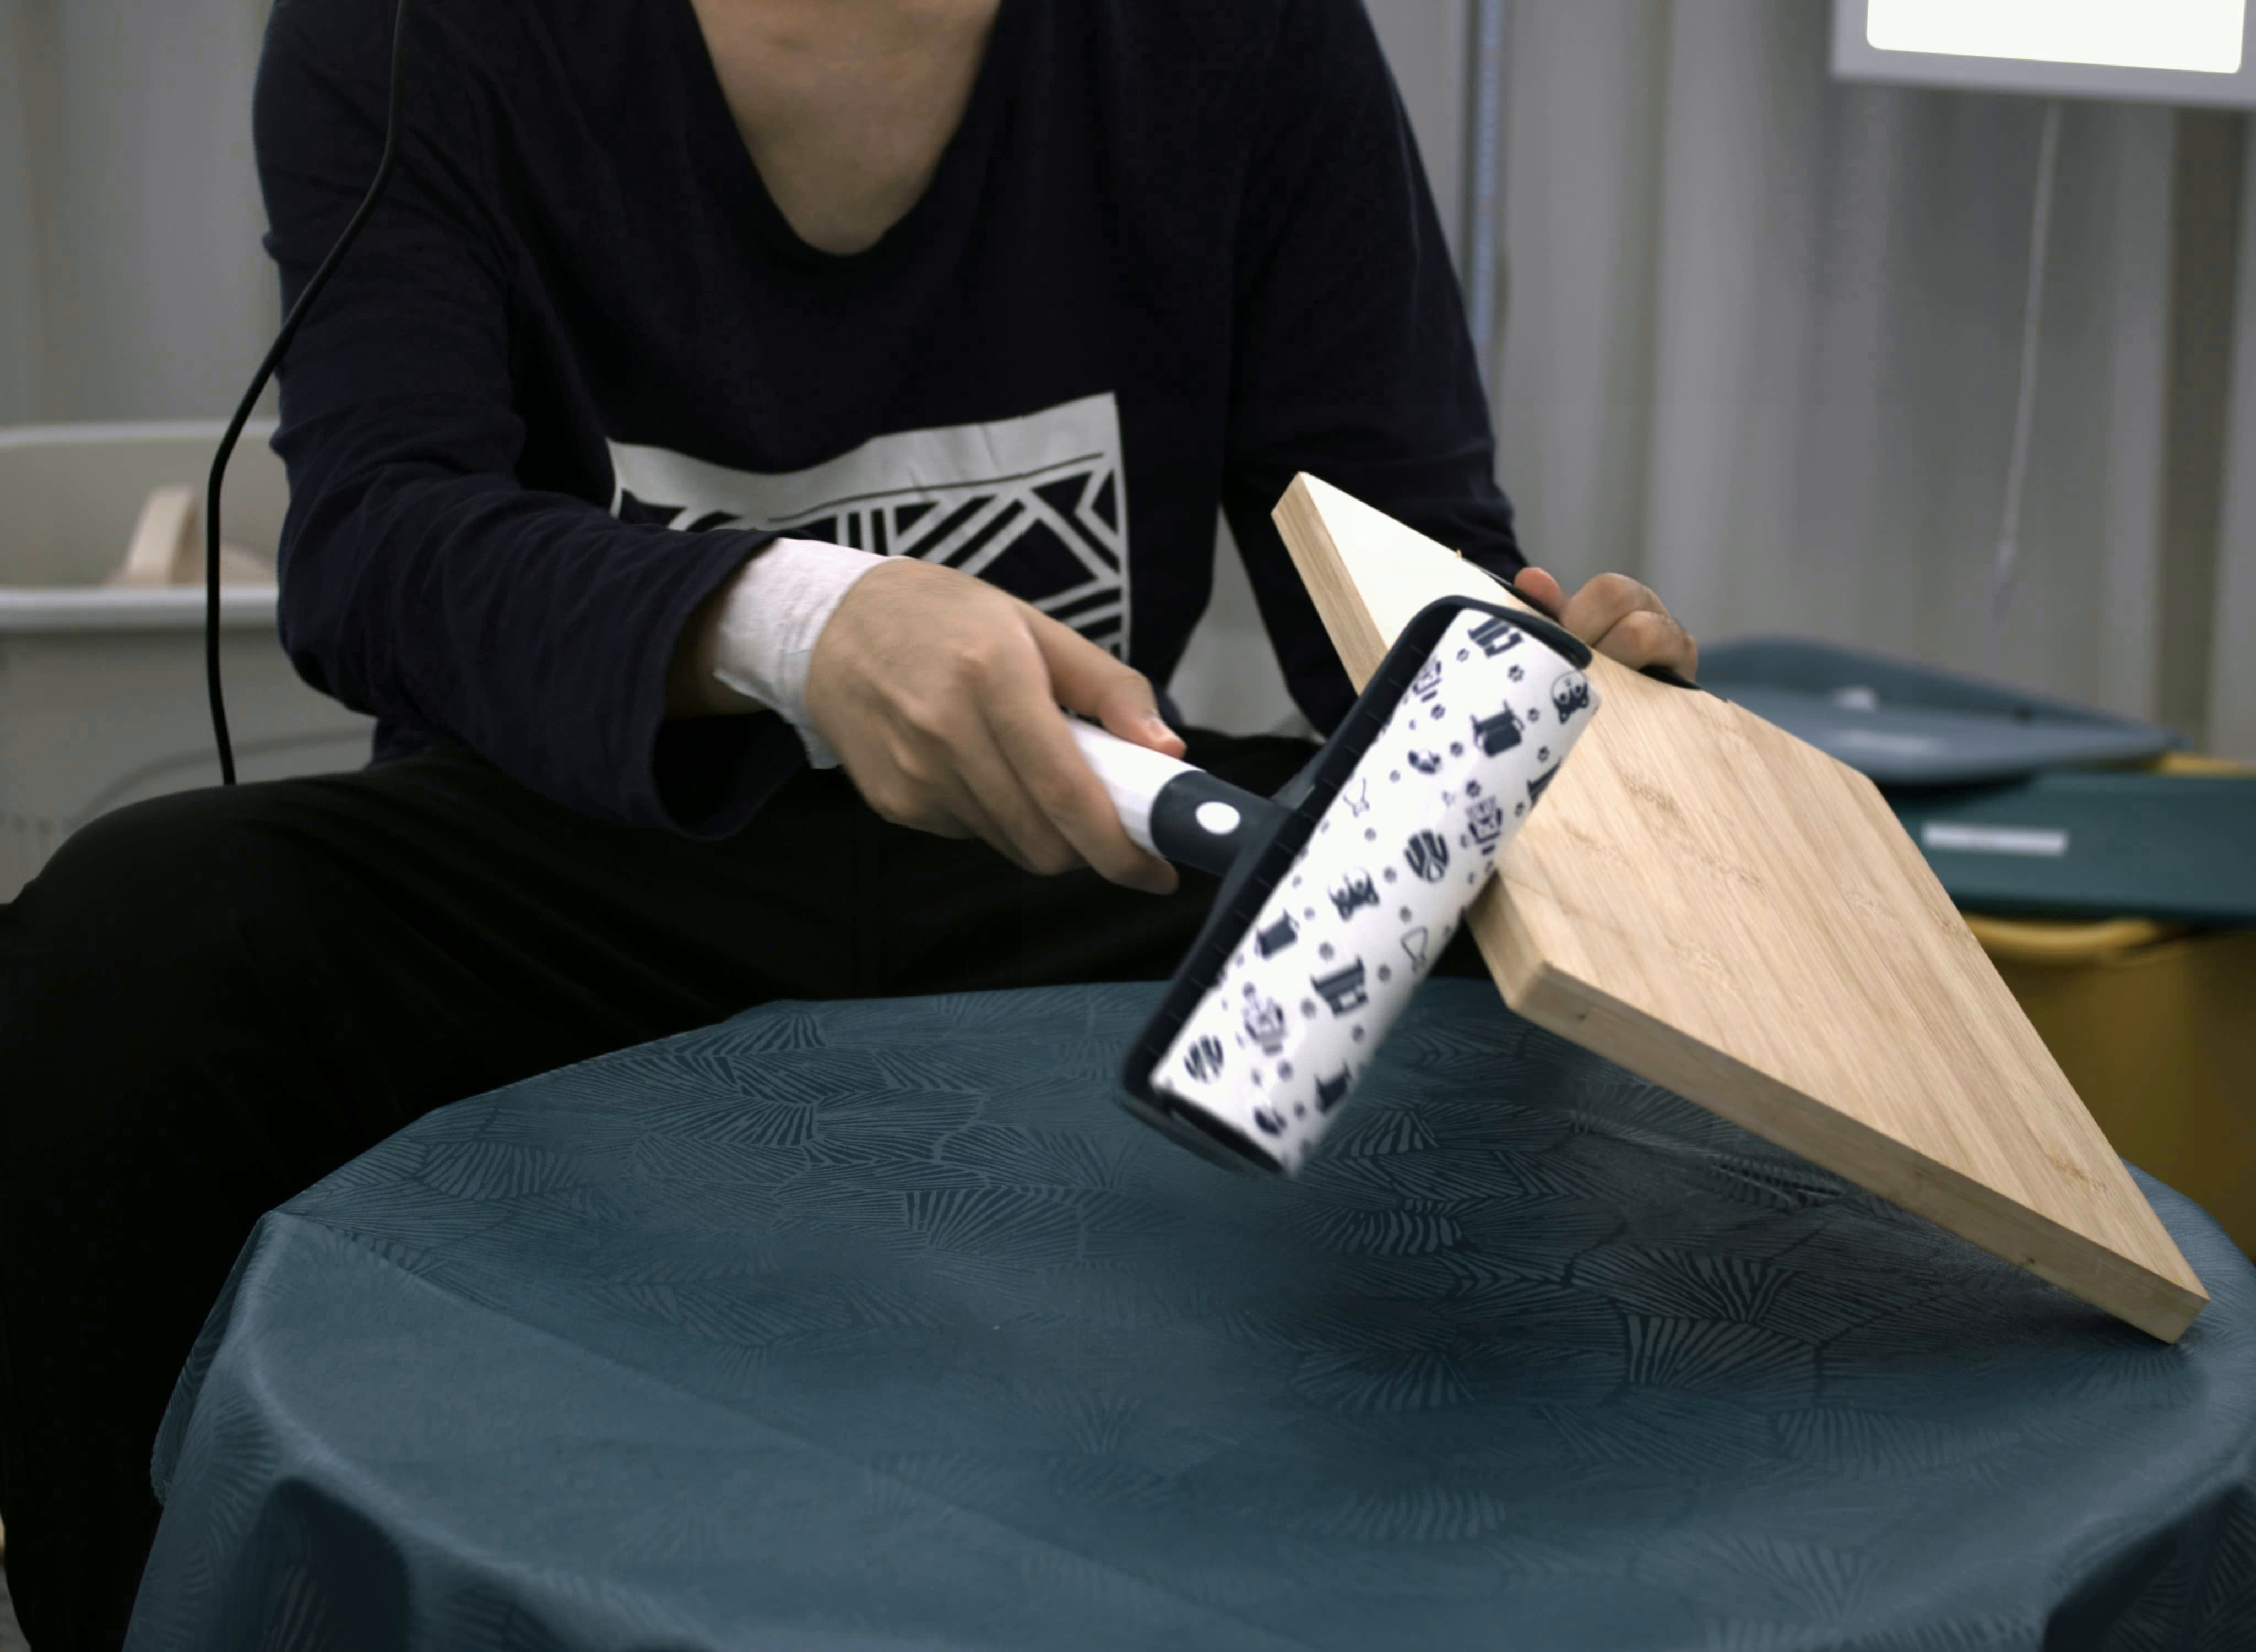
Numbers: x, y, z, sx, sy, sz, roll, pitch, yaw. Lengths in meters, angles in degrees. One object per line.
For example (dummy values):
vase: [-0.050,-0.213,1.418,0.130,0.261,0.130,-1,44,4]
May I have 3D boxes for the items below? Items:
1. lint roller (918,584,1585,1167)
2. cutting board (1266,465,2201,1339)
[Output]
lint roller: [0.006,-0.007,1.522,0.244,0.176,0.051,20,-17,50]
cutting board: [0.174,0.014,1.608,0.253,0.023,0.345,27,19,-23]
